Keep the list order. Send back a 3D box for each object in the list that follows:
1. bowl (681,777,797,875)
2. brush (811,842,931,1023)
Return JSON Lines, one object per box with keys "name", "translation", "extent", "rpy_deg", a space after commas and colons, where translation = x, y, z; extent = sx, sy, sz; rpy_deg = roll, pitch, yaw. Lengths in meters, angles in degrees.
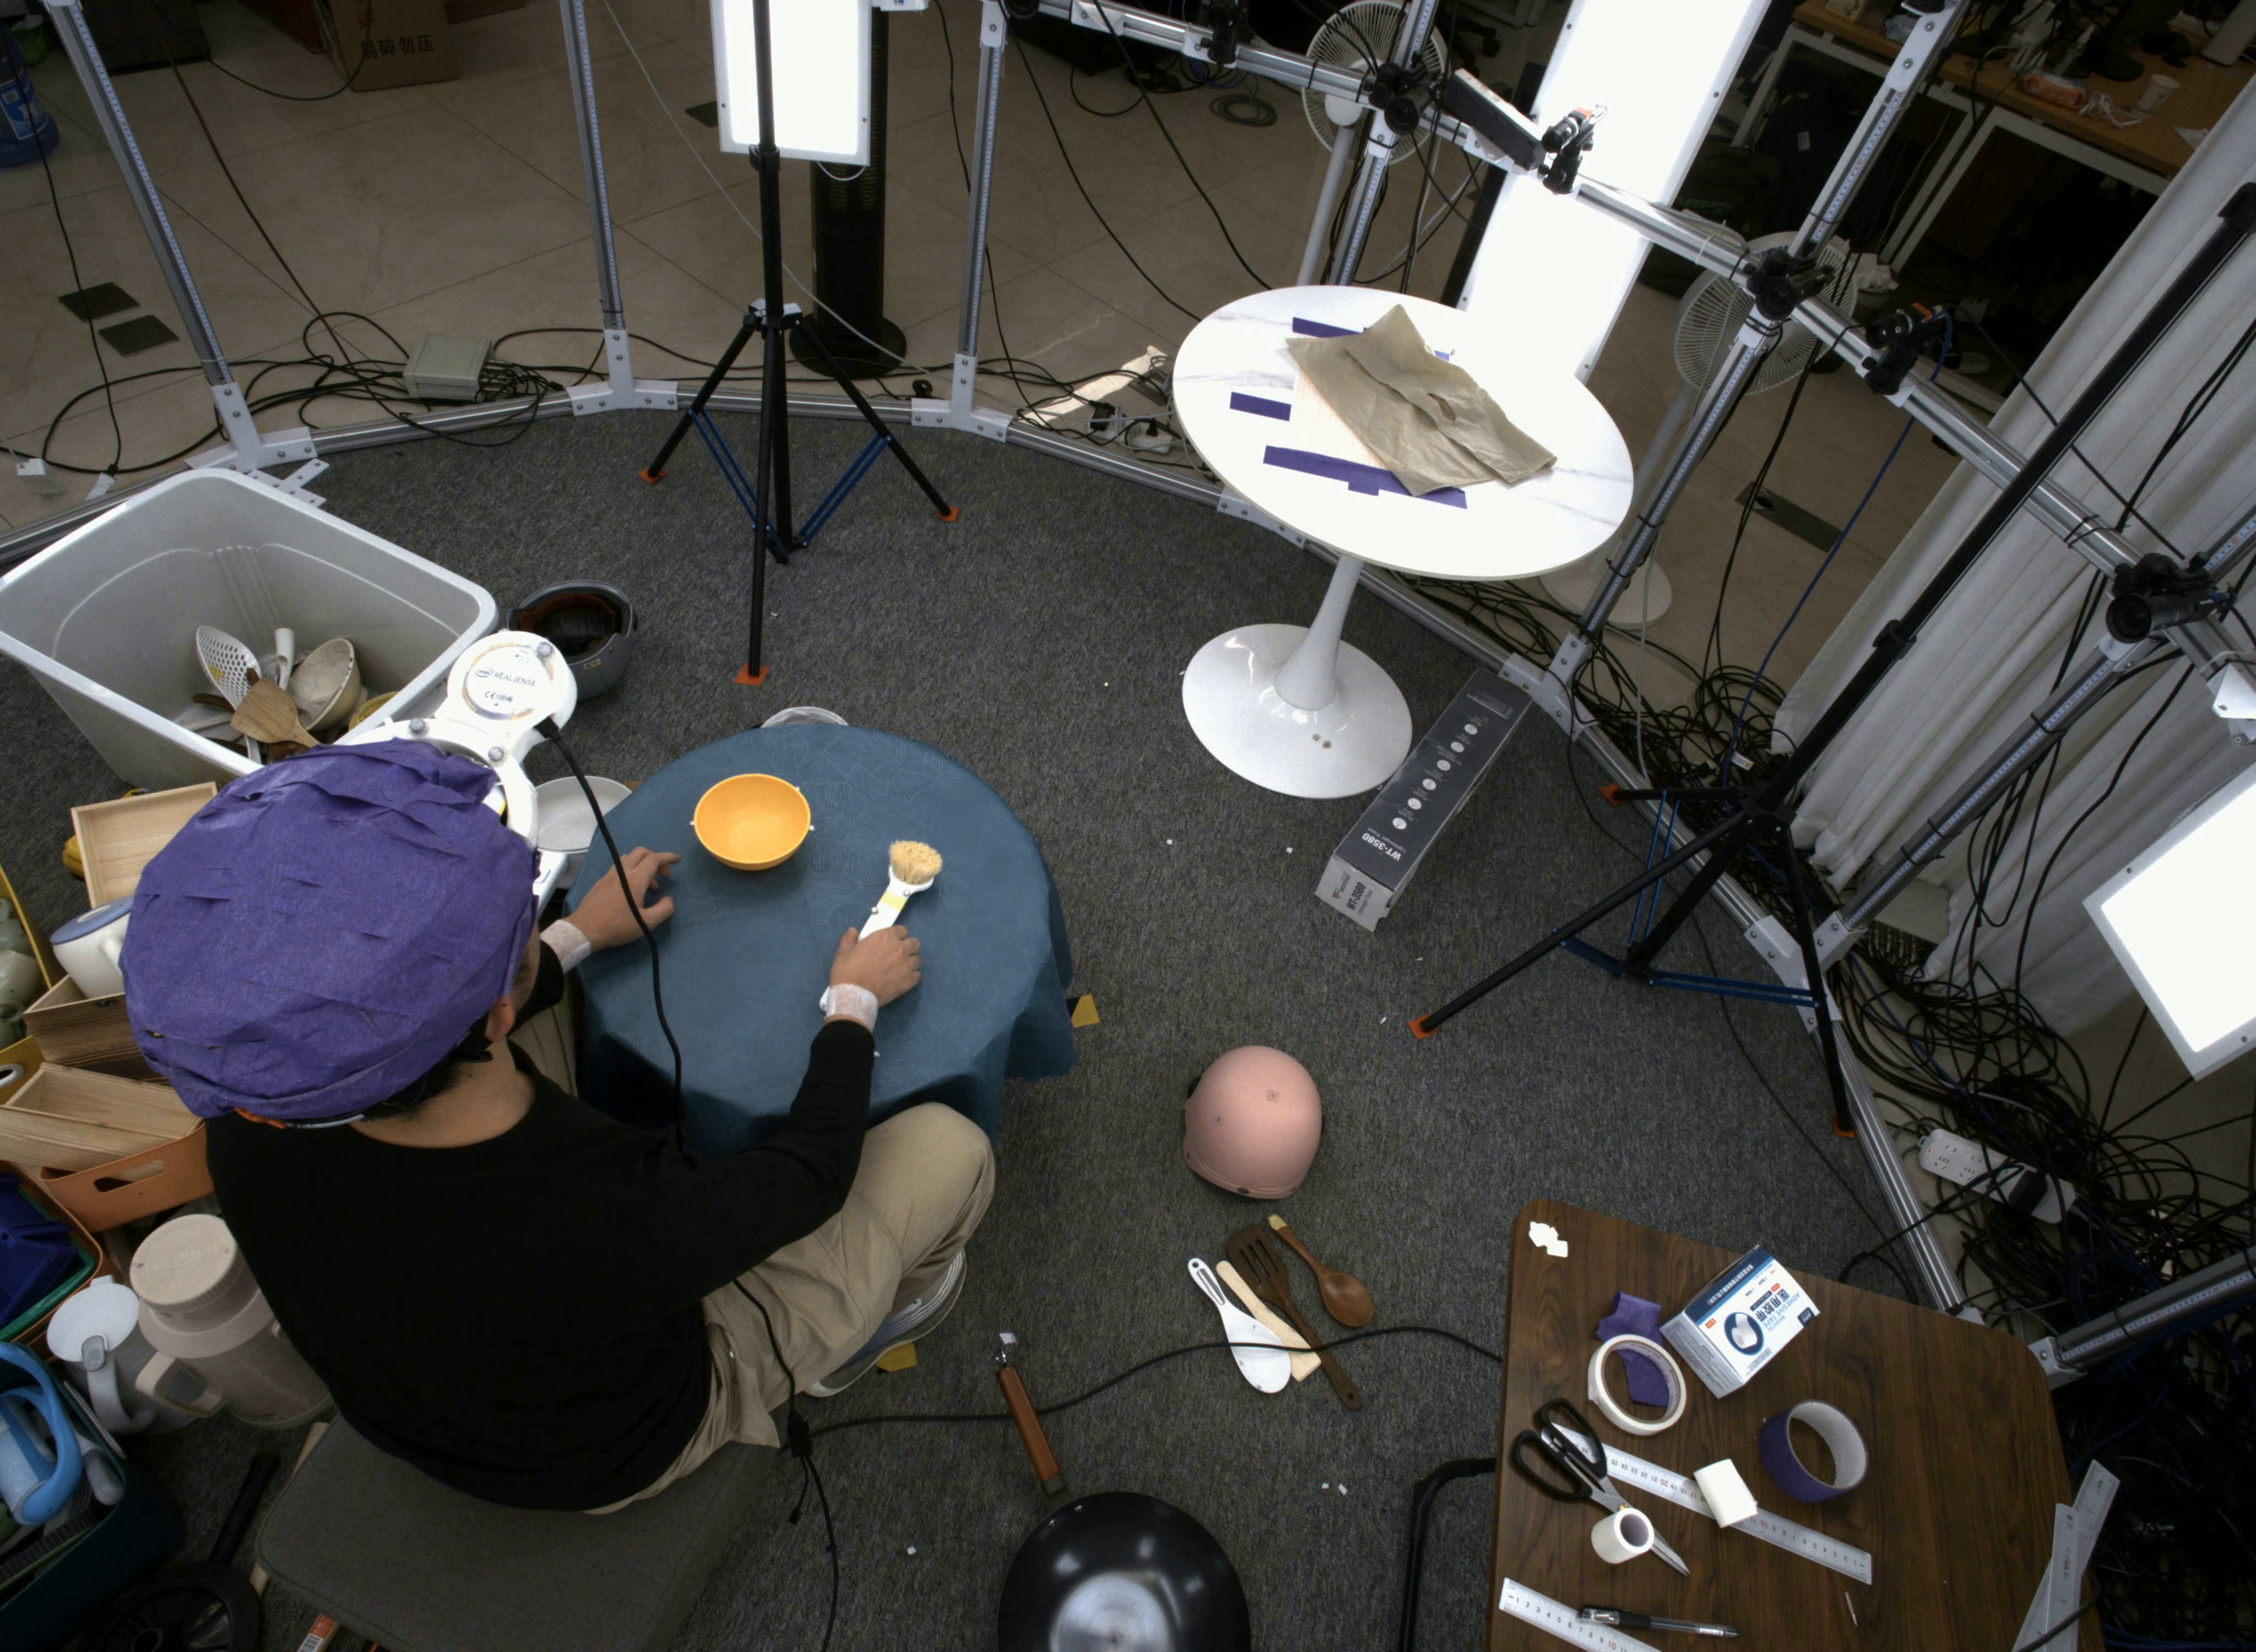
{"name": "bowl", "translation": [-0.495, 0.009, 1.657], "extent": [0.145, 0.061, 0.143], "rpy_deg": [6, 54, -7]}
{"name": "brush", "translation": [-0.323, 0.123, 1.619], "extent": [0.067, 0.057, 0.264], "rpy_deg": [20, 52, 8]}
